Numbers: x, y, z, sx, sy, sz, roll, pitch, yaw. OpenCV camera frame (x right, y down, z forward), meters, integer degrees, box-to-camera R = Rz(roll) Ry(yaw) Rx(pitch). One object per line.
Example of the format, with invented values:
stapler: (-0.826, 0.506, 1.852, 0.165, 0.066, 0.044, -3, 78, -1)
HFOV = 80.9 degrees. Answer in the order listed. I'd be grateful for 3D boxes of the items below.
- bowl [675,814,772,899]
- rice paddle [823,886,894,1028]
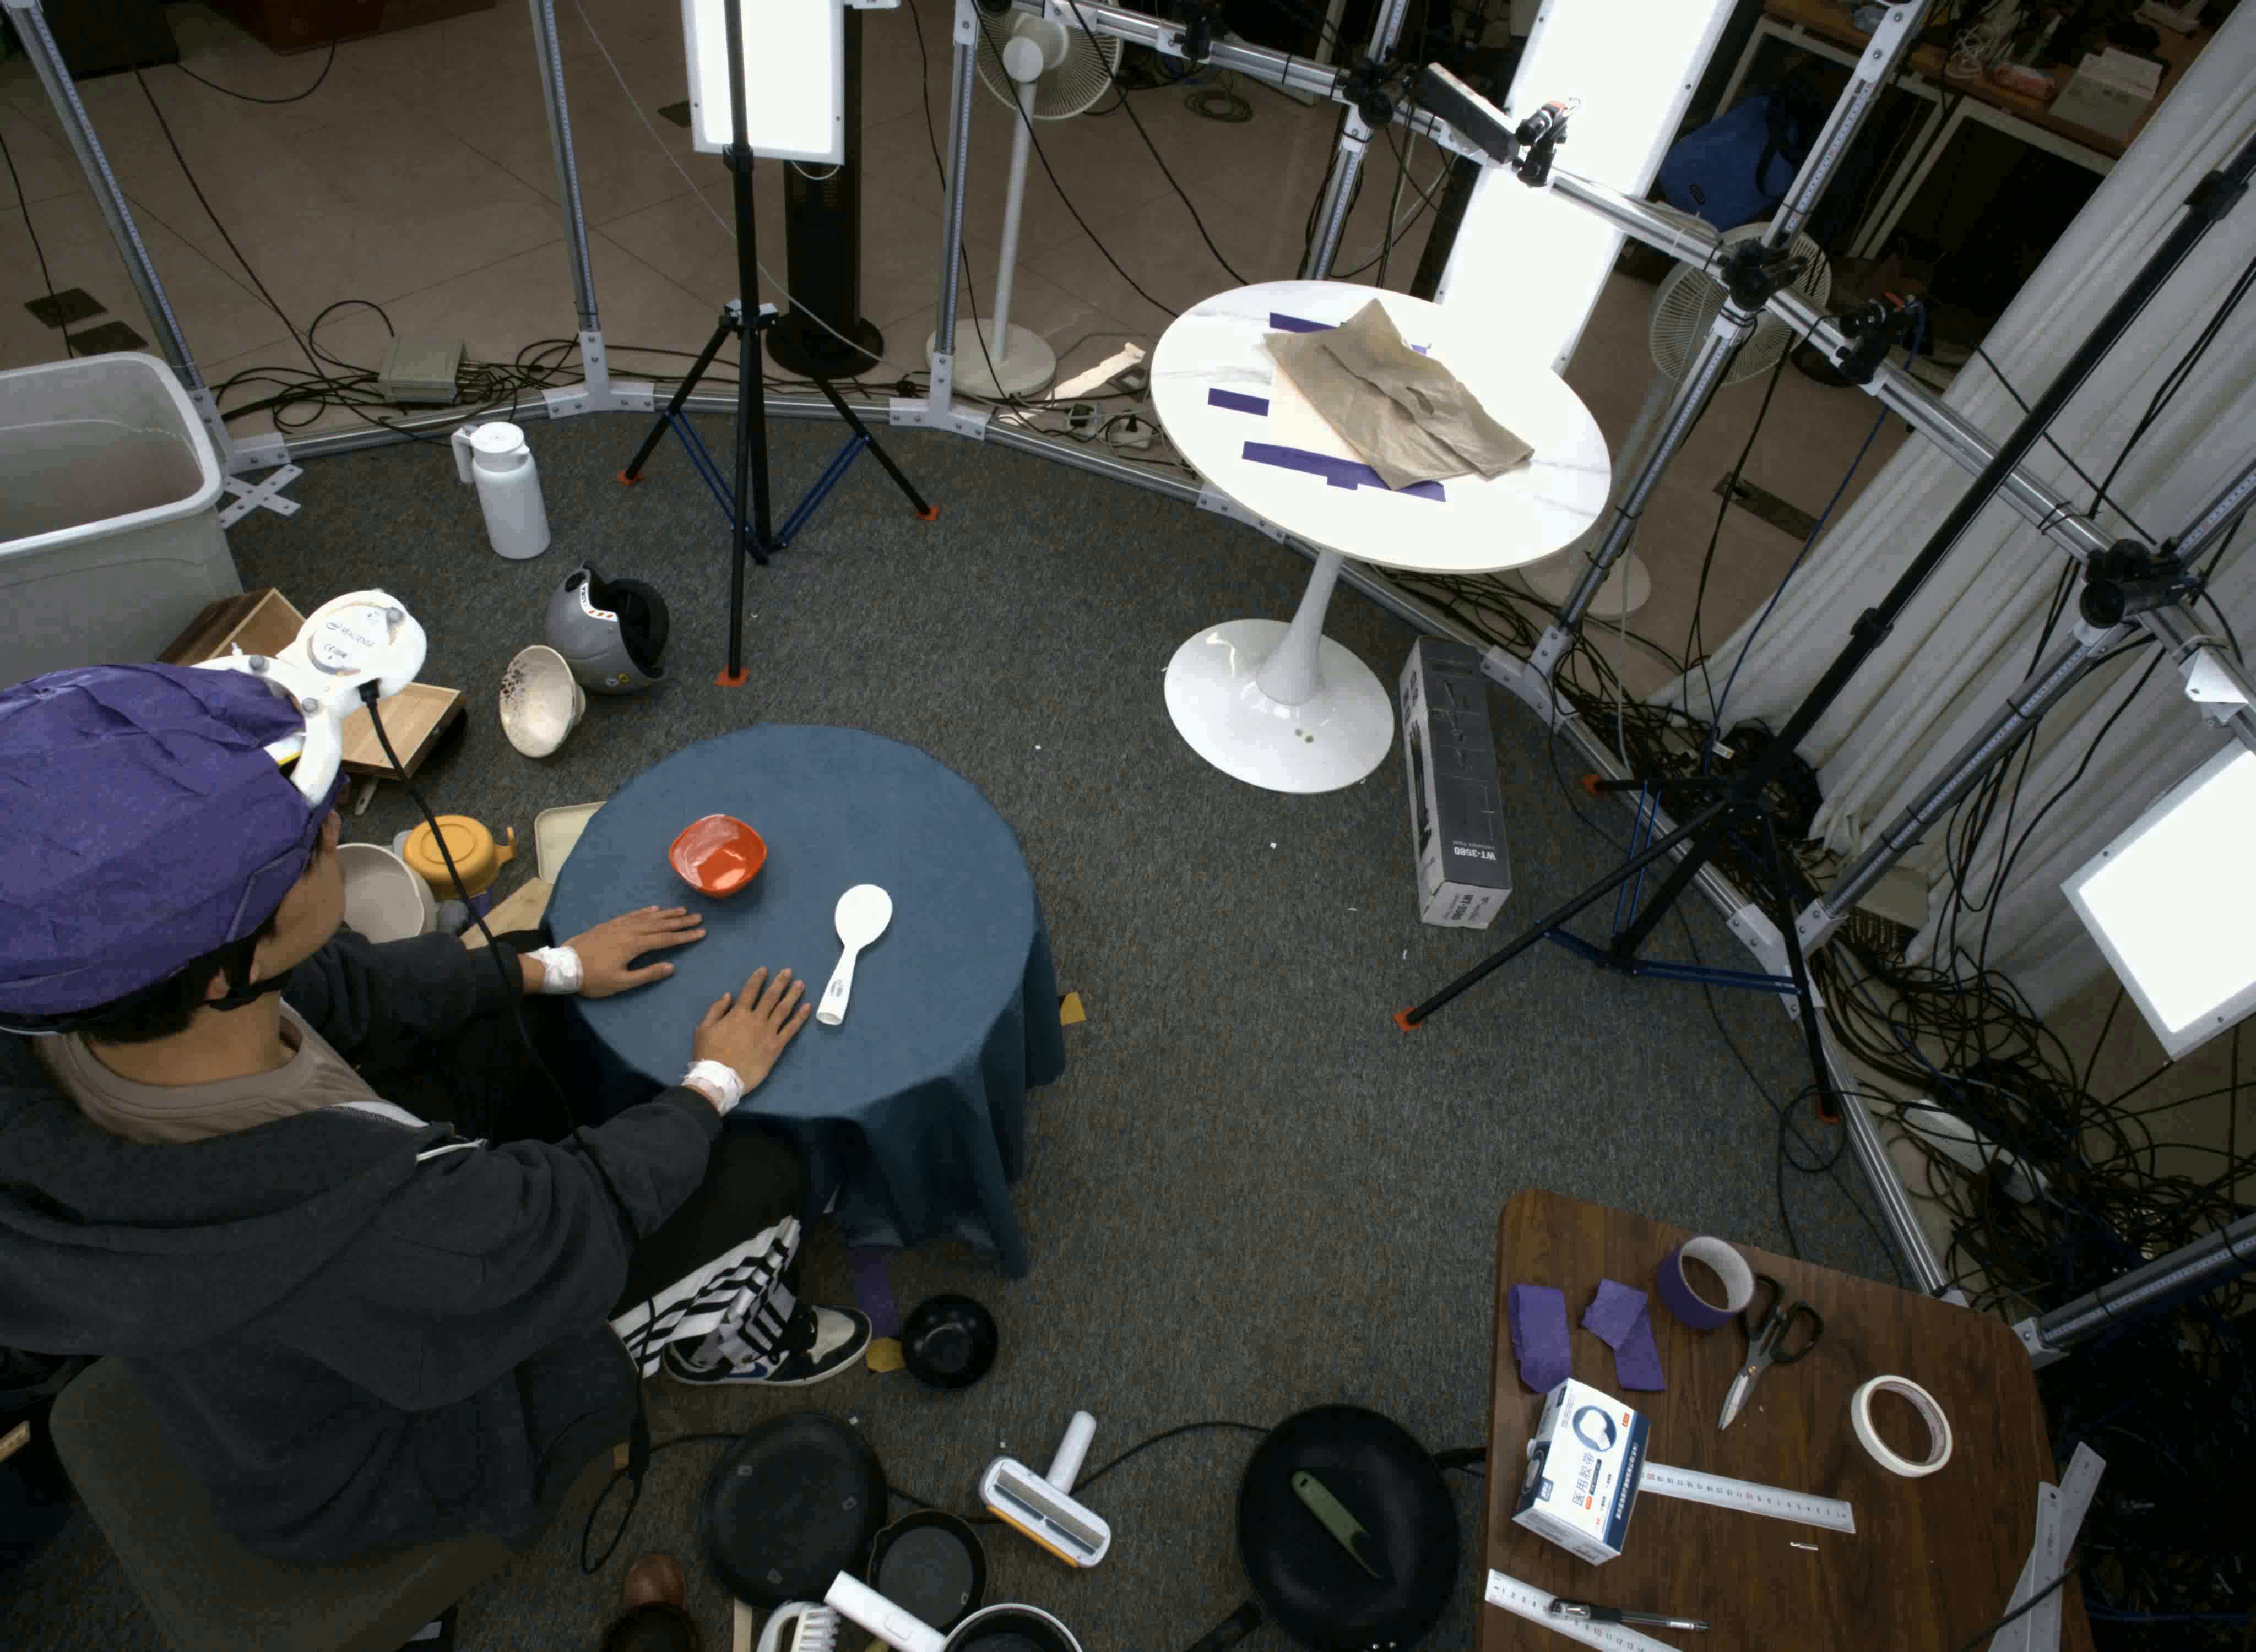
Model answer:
bowl: (-0.511, 0.046, 1.638, 0.119, 0.052, 0.117, 8, 51, -9)
rice paddle: (-0.340, 0.153, 1.617, 0.068, 0.030, 0.202, 13, 52, -6)
